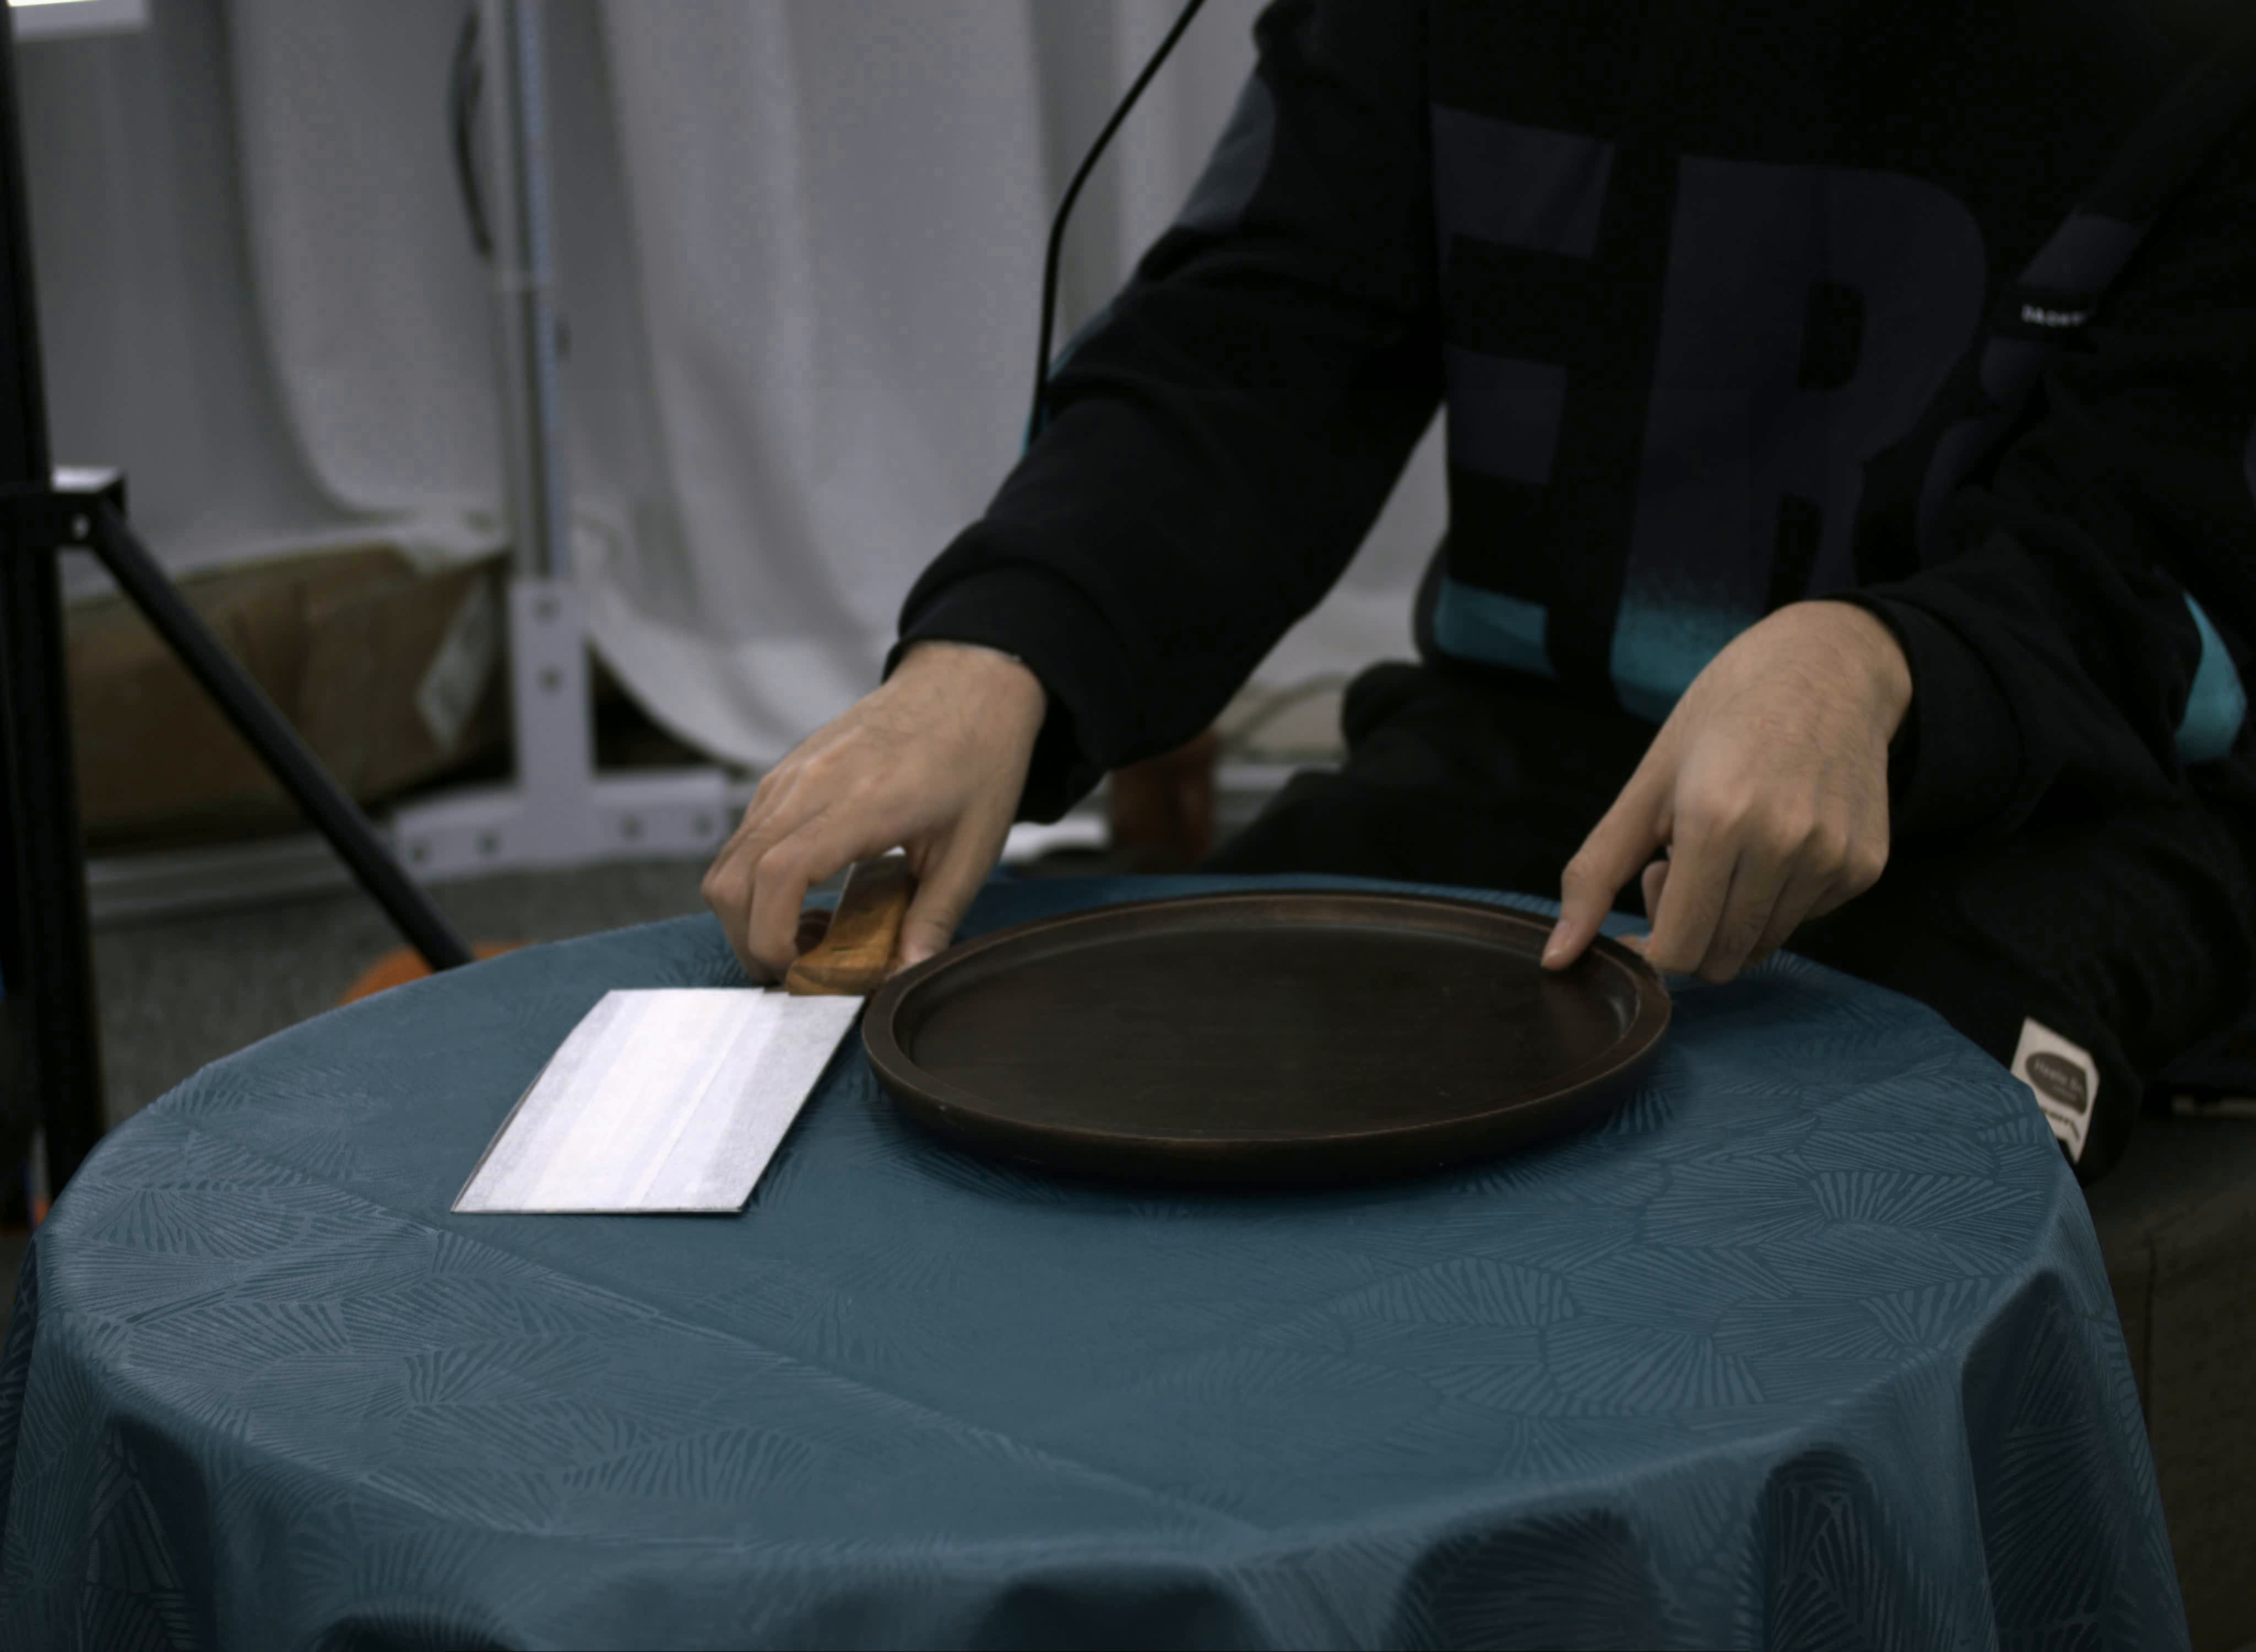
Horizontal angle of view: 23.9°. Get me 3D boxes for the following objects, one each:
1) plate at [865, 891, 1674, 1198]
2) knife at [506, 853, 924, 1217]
[{"bbox_3d":[0.044,0.065,1.655,0.253,0.029,0.256,-1,16,-1],"label":"plate"},{"bbox_3d":[-0.131,0.065,1.703,0.093,0.021,0.305,-2,18,10],"label":"knife"}]
